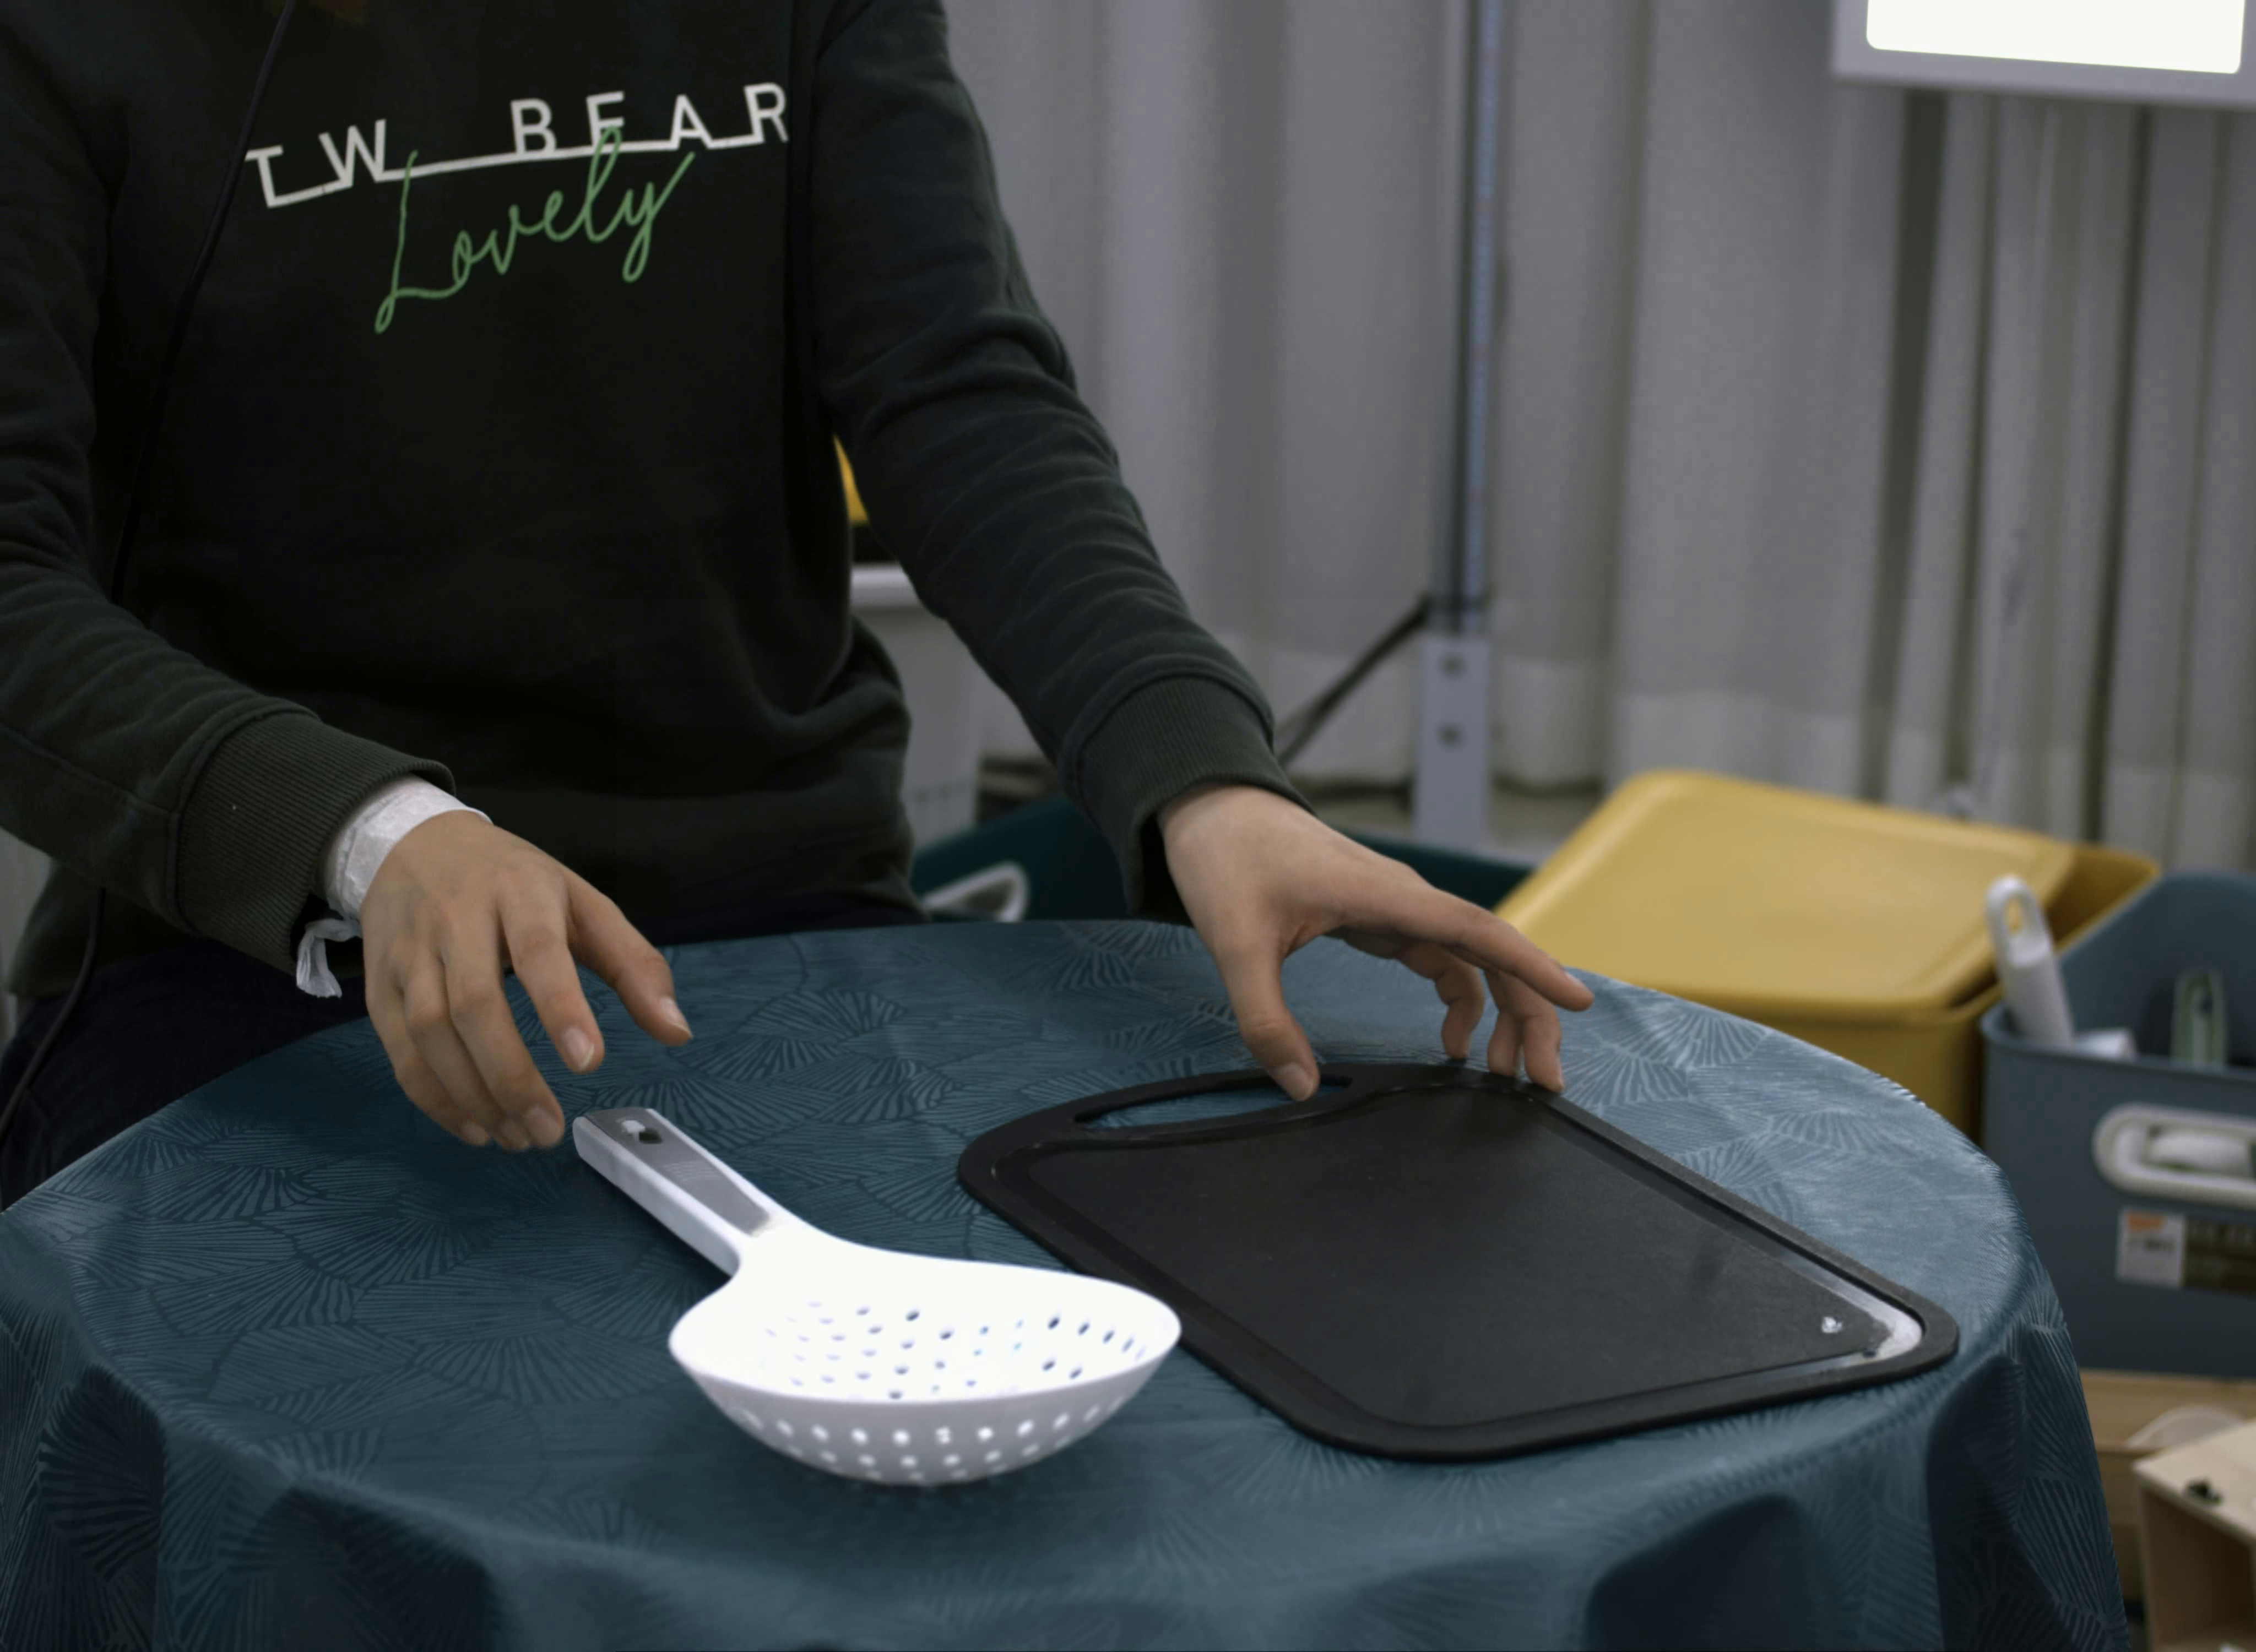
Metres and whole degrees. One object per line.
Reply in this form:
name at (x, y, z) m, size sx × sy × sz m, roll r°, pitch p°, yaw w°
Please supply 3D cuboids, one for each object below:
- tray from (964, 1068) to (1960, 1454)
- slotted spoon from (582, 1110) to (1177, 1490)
tray at (0.089, 0.122, 1.583) m, size 0.212 × 0.010 × 0.321 m, roll -7°, pitch 17°, yaw -26°
slotted spoon at (-0.095, 0.125, 1.496) m, size 0.136 × 0.046 × 0.346 m, roll -4°, pitch 16°, yaw -22°
